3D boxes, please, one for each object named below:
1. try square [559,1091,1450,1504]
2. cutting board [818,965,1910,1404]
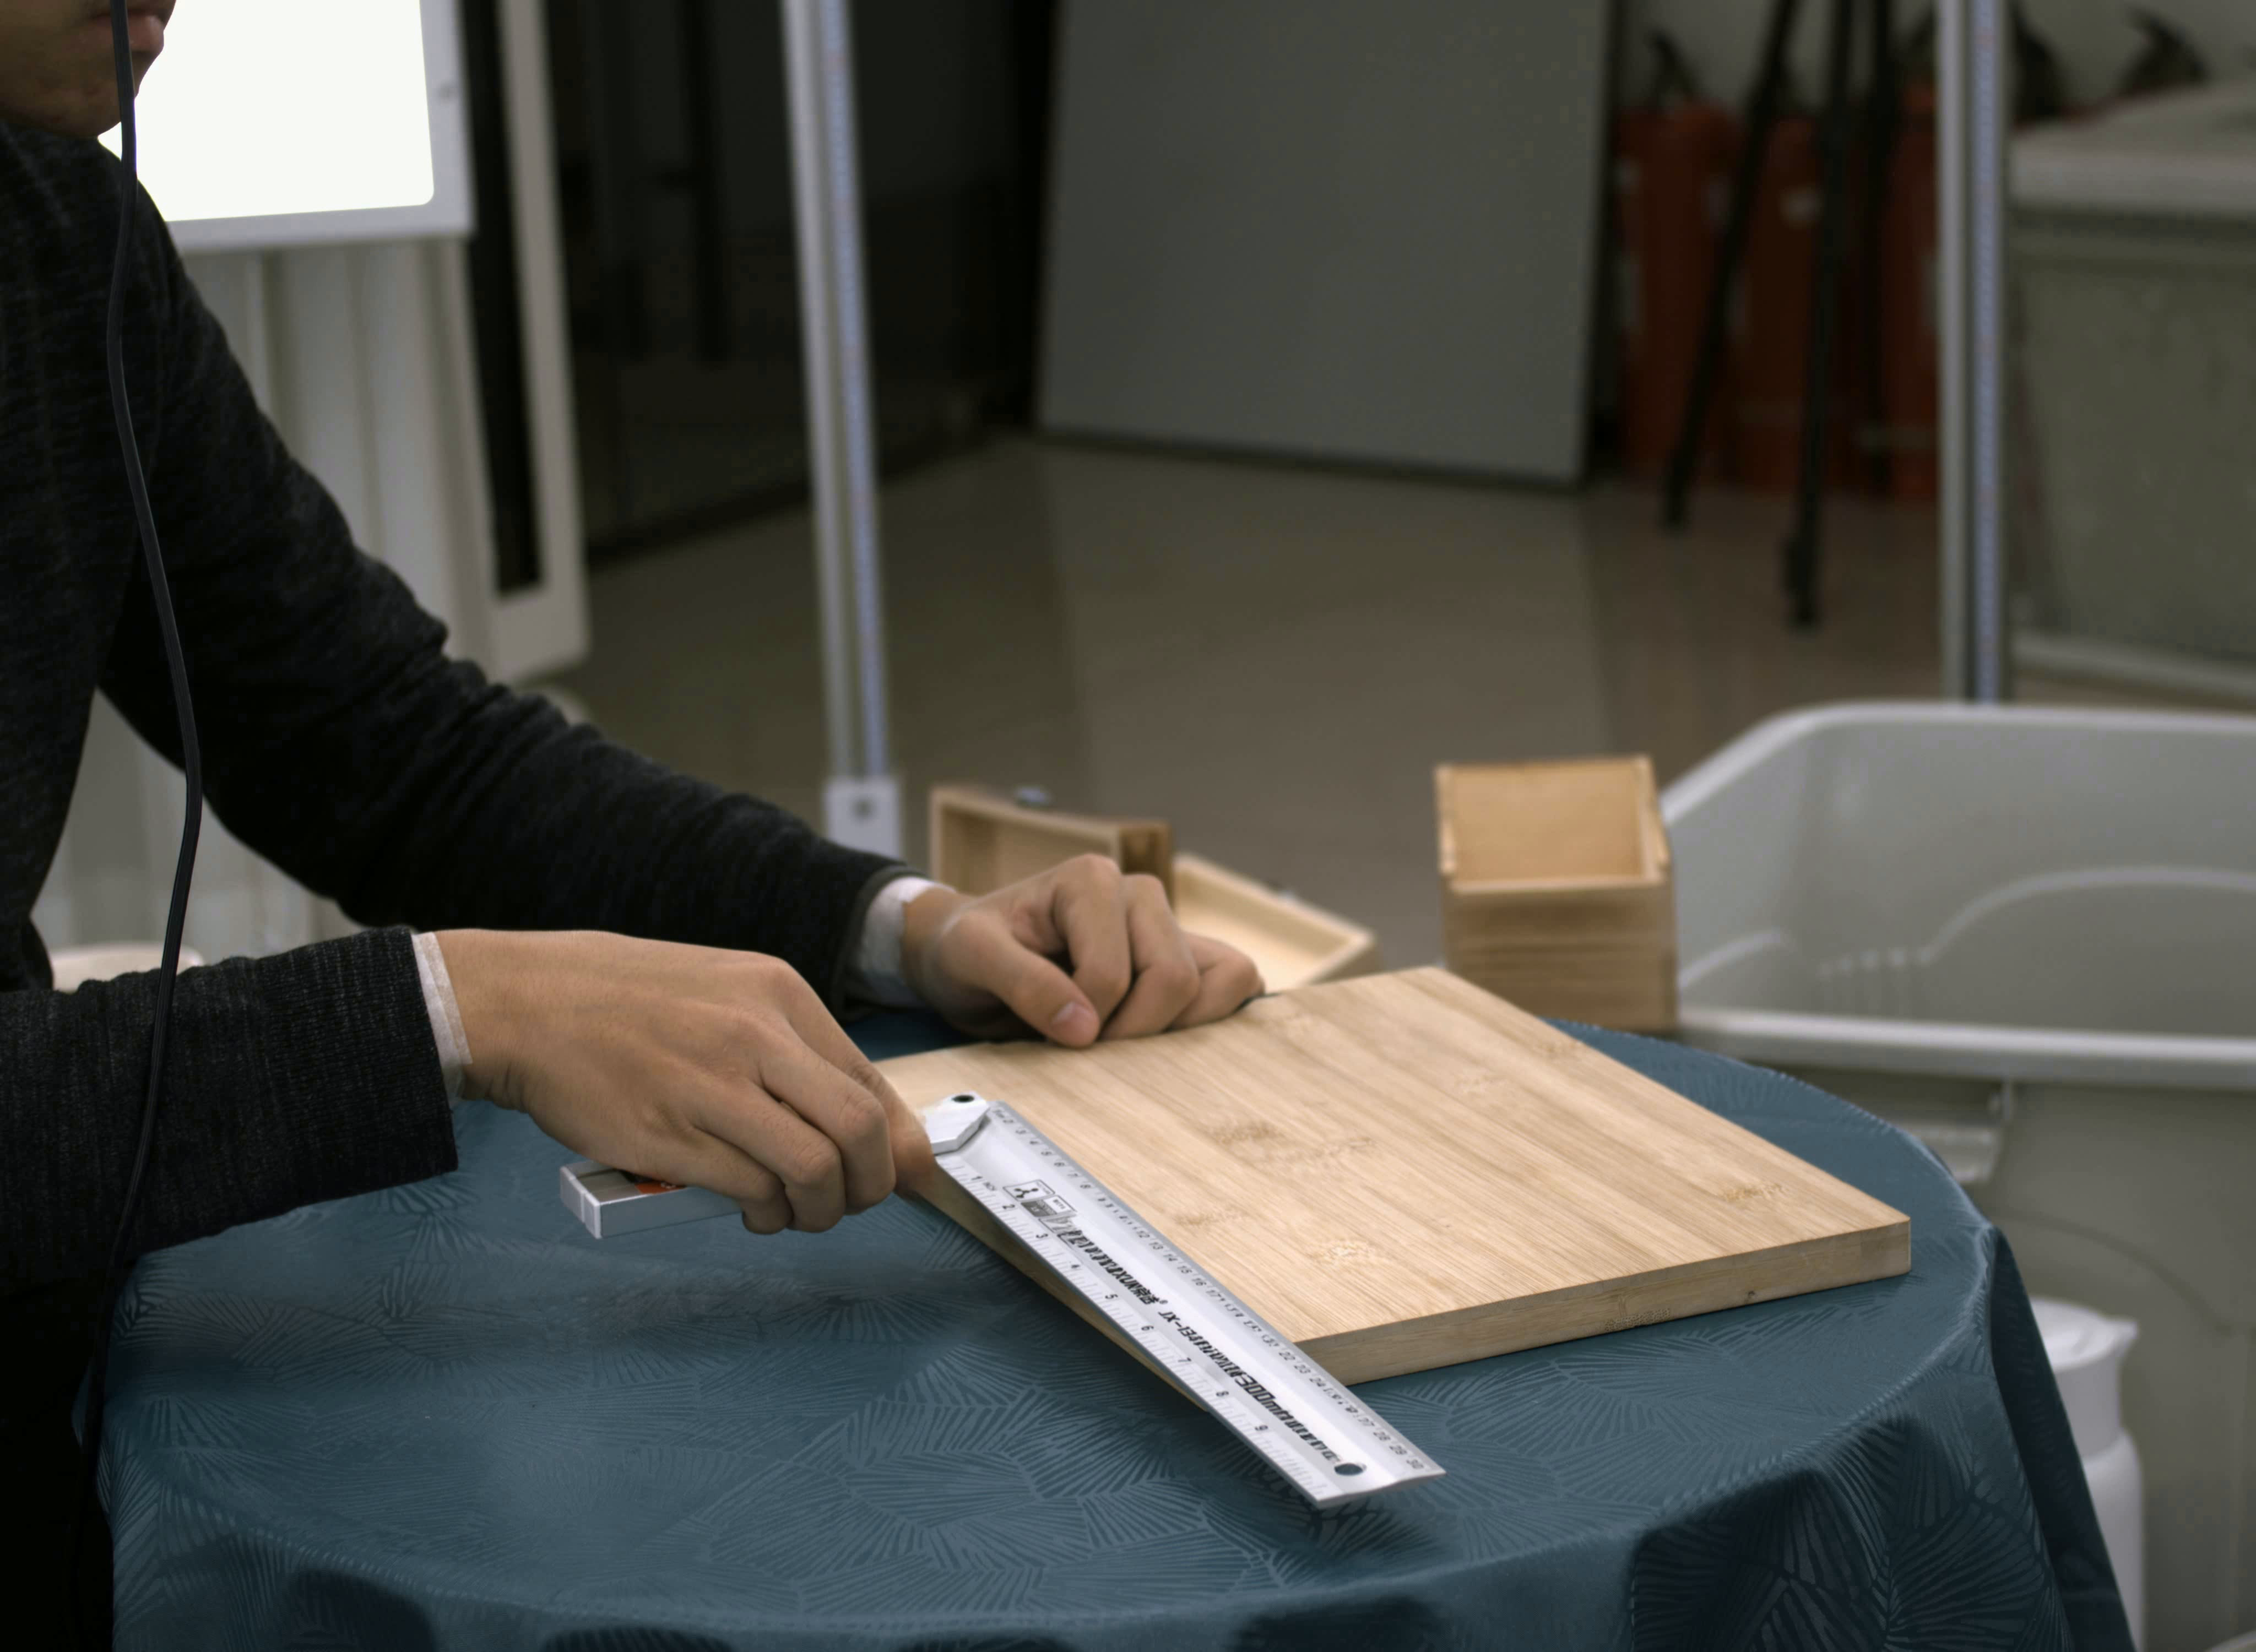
[{"bbox_3d":[-0.044,0.143,1.560,0.149,0.016,0.316,-11,20,-21],"label":"try square"},{"bbox_3d":[0.066,0.111,1.759,0.245,0.024,0.352,-9,15,-21],"label":"cutting board"}]
